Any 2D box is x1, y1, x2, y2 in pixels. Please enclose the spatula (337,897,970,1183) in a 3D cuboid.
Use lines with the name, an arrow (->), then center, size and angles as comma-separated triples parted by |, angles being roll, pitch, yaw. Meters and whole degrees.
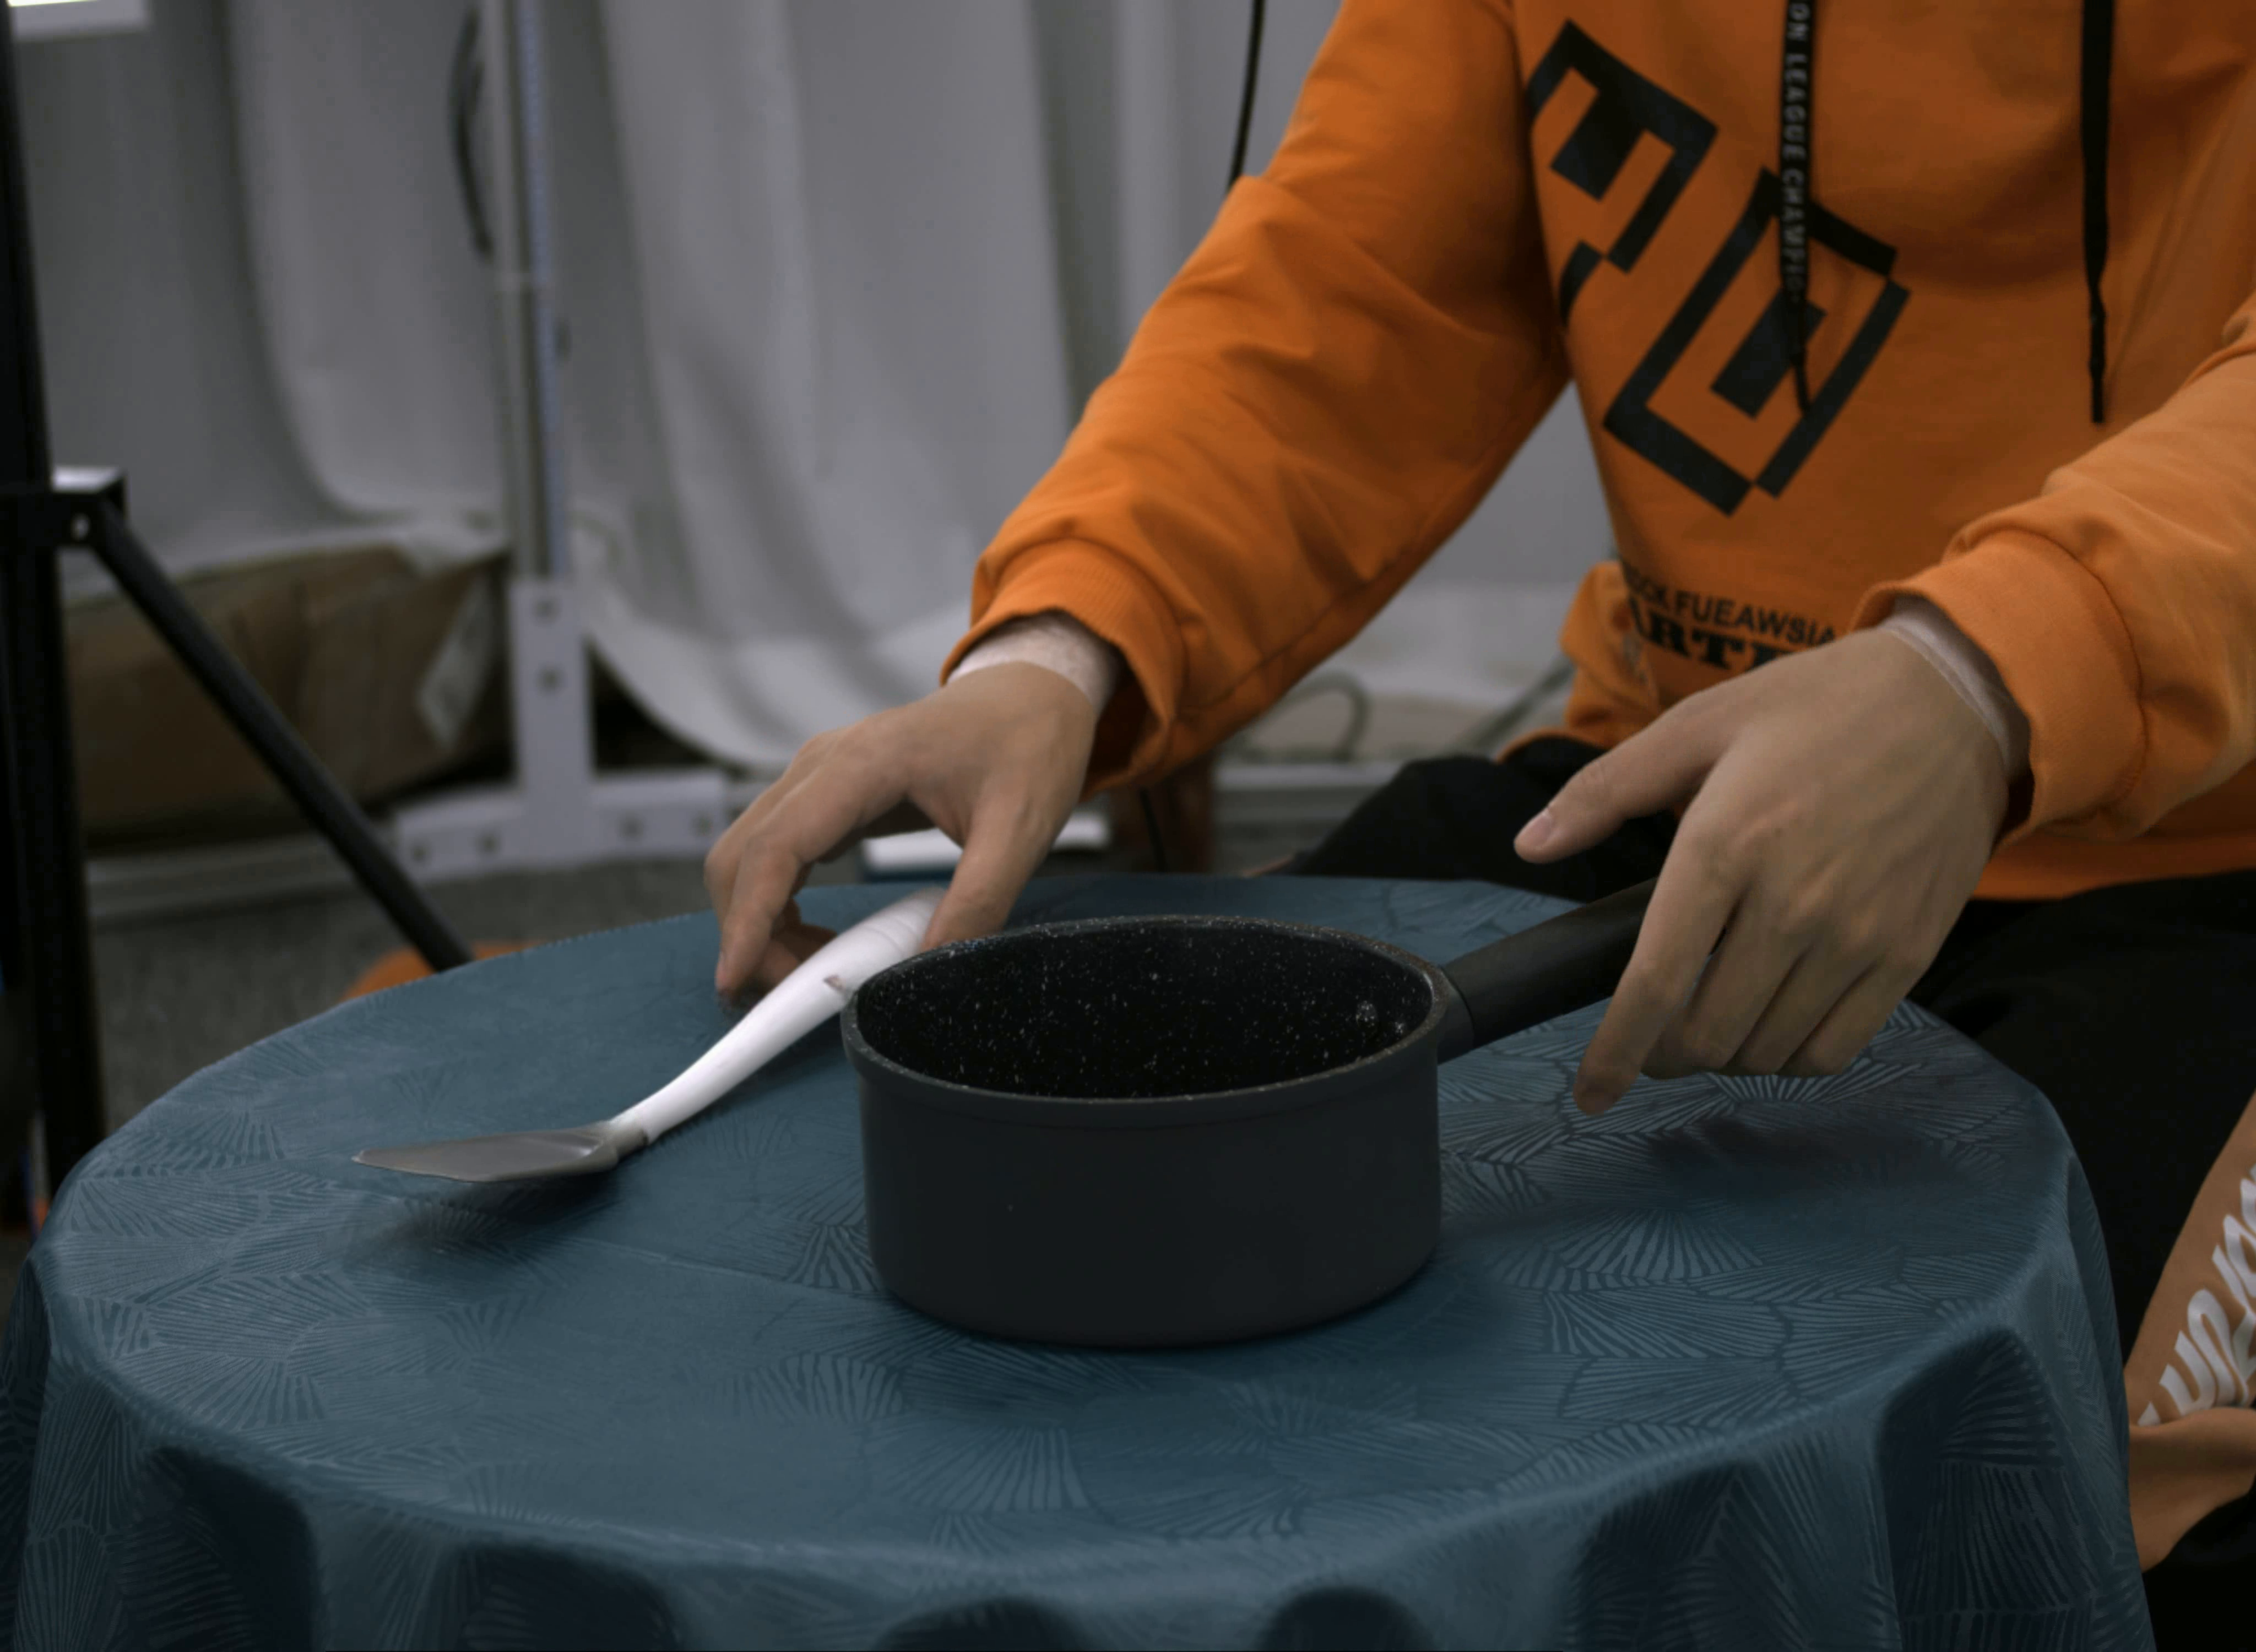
spatula -> -0.136, 0.073, 1.646 | 0.060, 0.032, 0.282 | 12, 20, 29

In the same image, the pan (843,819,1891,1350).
pan -> 0.077, 0.069, 1.526 | 0.322, 0.086, 0.175 | -12, 18, -23
